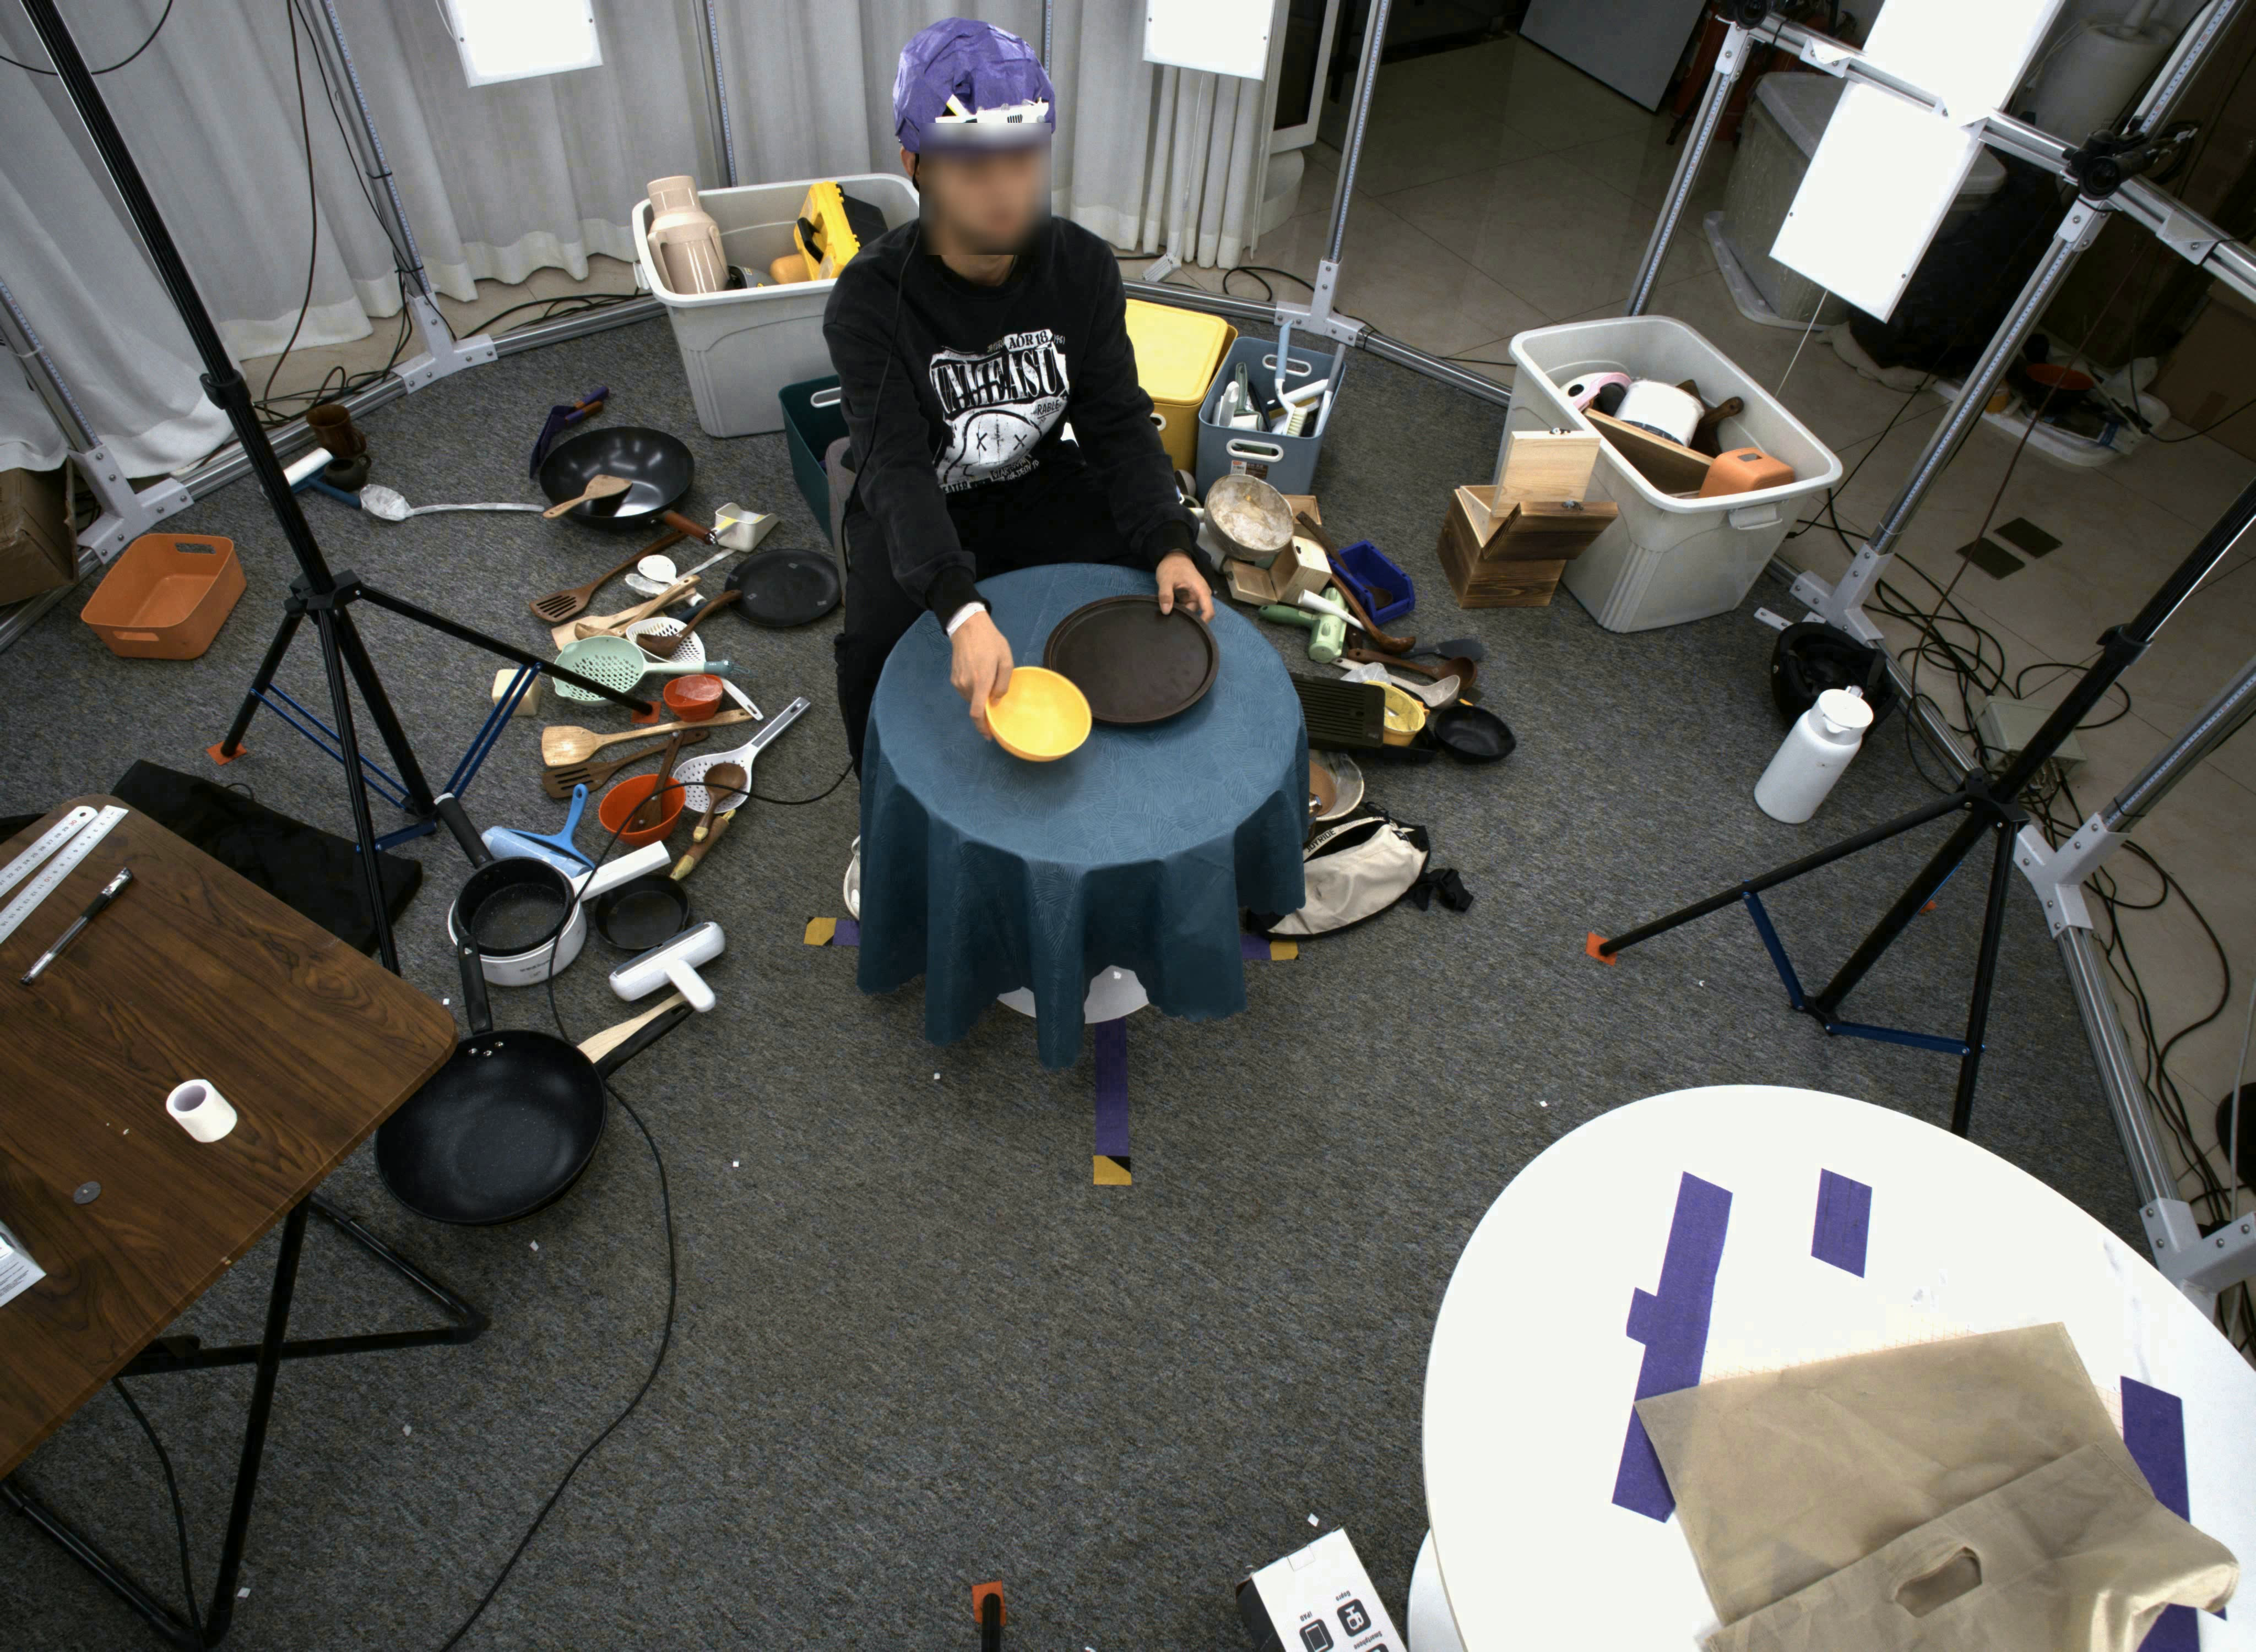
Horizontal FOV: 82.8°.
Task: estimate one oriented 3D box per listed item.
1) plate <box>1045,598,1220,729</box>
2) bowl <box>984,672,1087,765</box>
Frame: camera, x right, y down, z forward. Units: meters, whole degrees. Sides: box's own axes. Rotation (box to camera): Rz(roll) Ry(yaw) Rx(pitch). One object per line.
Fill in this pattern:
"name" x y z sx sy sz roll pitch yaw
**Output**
"plate" 0.007 -0.237 1.861 0.255 0.028 0.261 -2 51 3
"bowl" -0.132 -0.133 1.729 0.144 0.059 0.149 12 51 -16
